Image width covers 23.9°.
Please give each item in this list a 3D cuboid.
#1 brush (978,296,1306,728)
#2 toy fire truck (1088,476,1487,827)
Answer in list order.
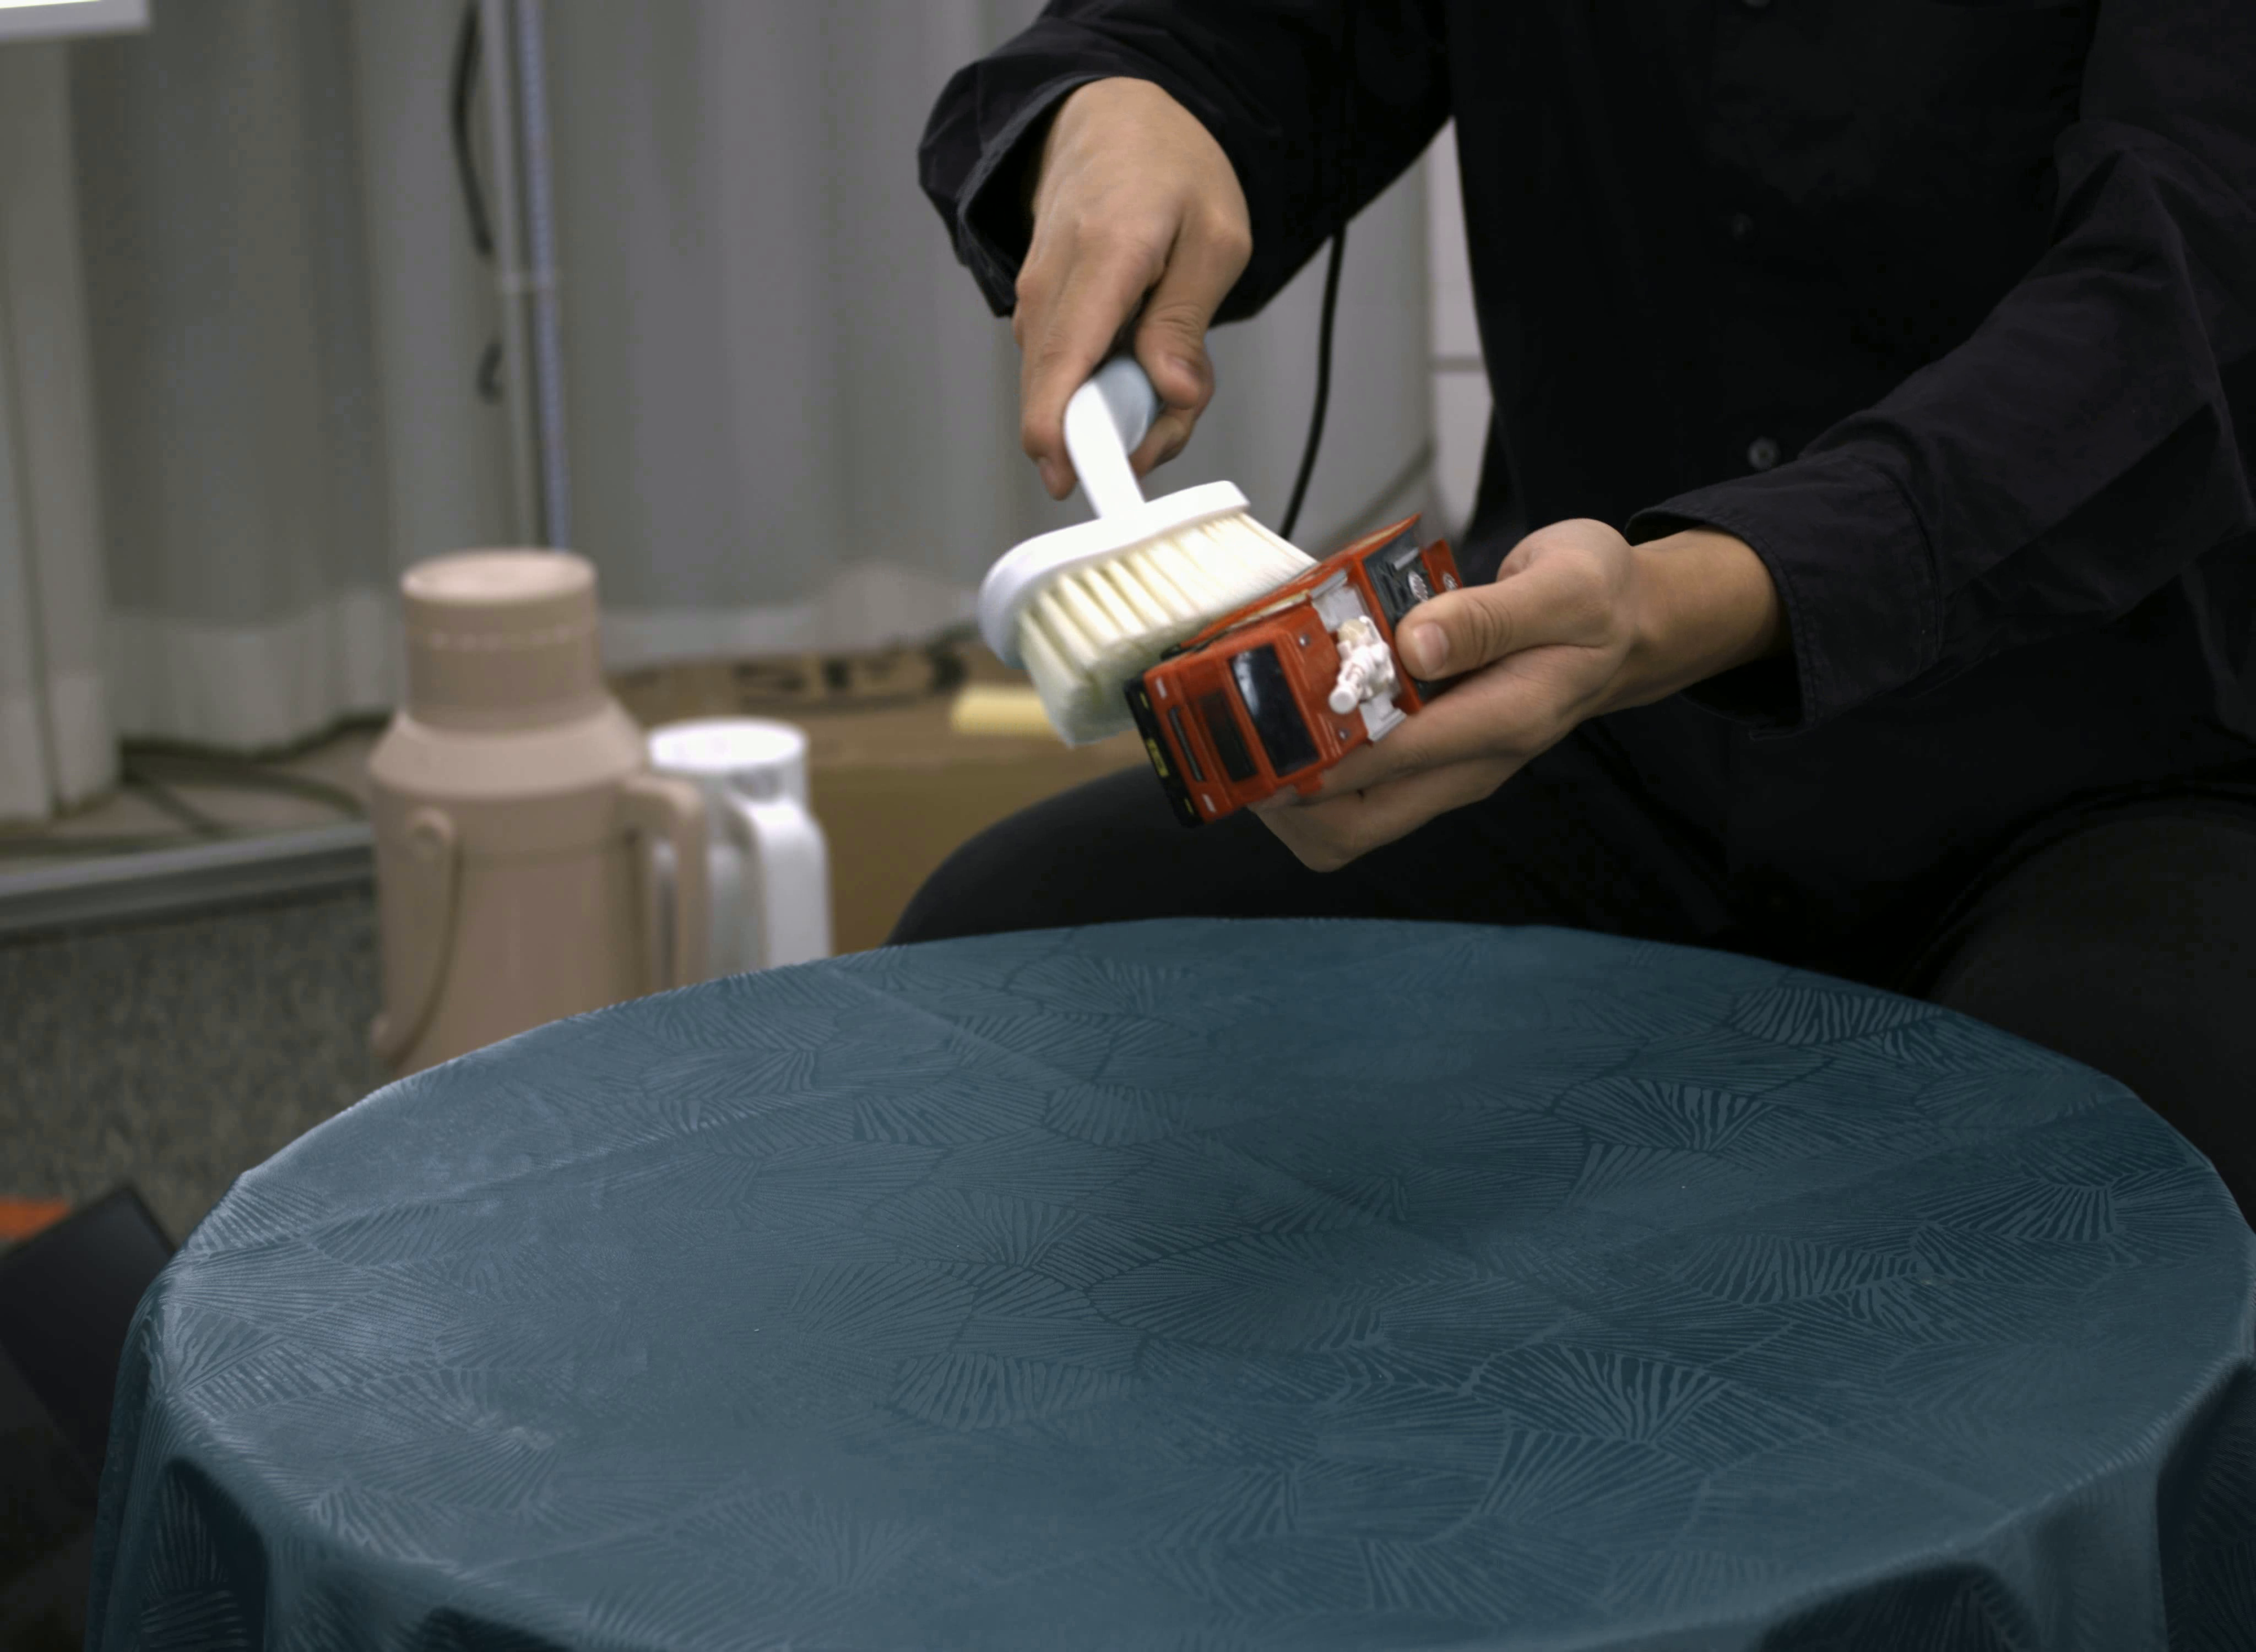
[{"bbox_3d":[0.020,-0.092,1.564,0.083,0.084,0.324,-7,15,11],"label":"brush"},{"bbox_3d":[0.047,-0.048,1.431,0.071,0.054,0.166,-21,7,22],"label":"toy fire truck"}]
